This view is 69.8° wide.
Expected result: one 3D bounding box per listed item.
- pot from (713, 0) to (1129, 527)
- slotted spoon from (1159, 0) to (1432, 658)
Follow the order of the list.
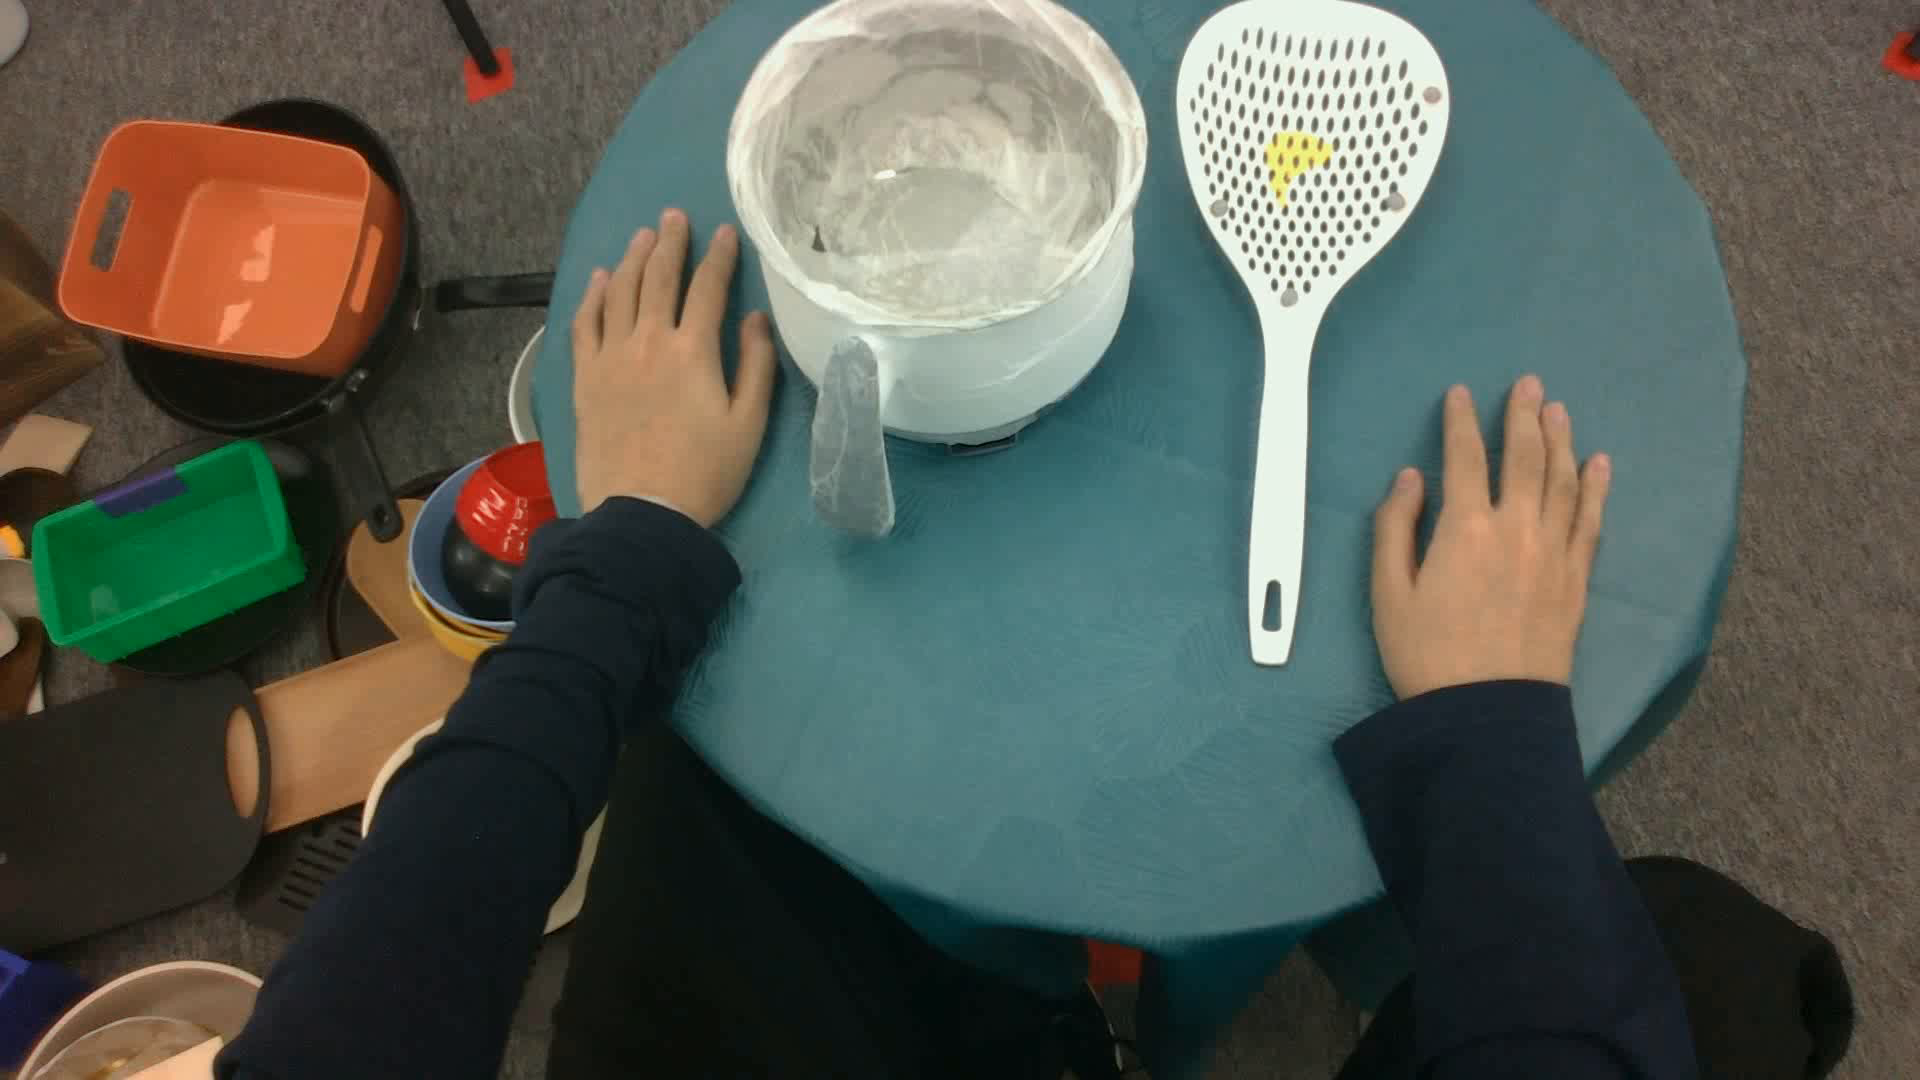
[{"bbox_3d":[-0.021,-0.126,0.633,0.178,0.136,0.234,15,71,9],"label":"pot"},{"bbox_3d":[0.156,-0.117,0.673,0.137,0.050,0.349,6,69,3],"label":"slotted spoon"}]
